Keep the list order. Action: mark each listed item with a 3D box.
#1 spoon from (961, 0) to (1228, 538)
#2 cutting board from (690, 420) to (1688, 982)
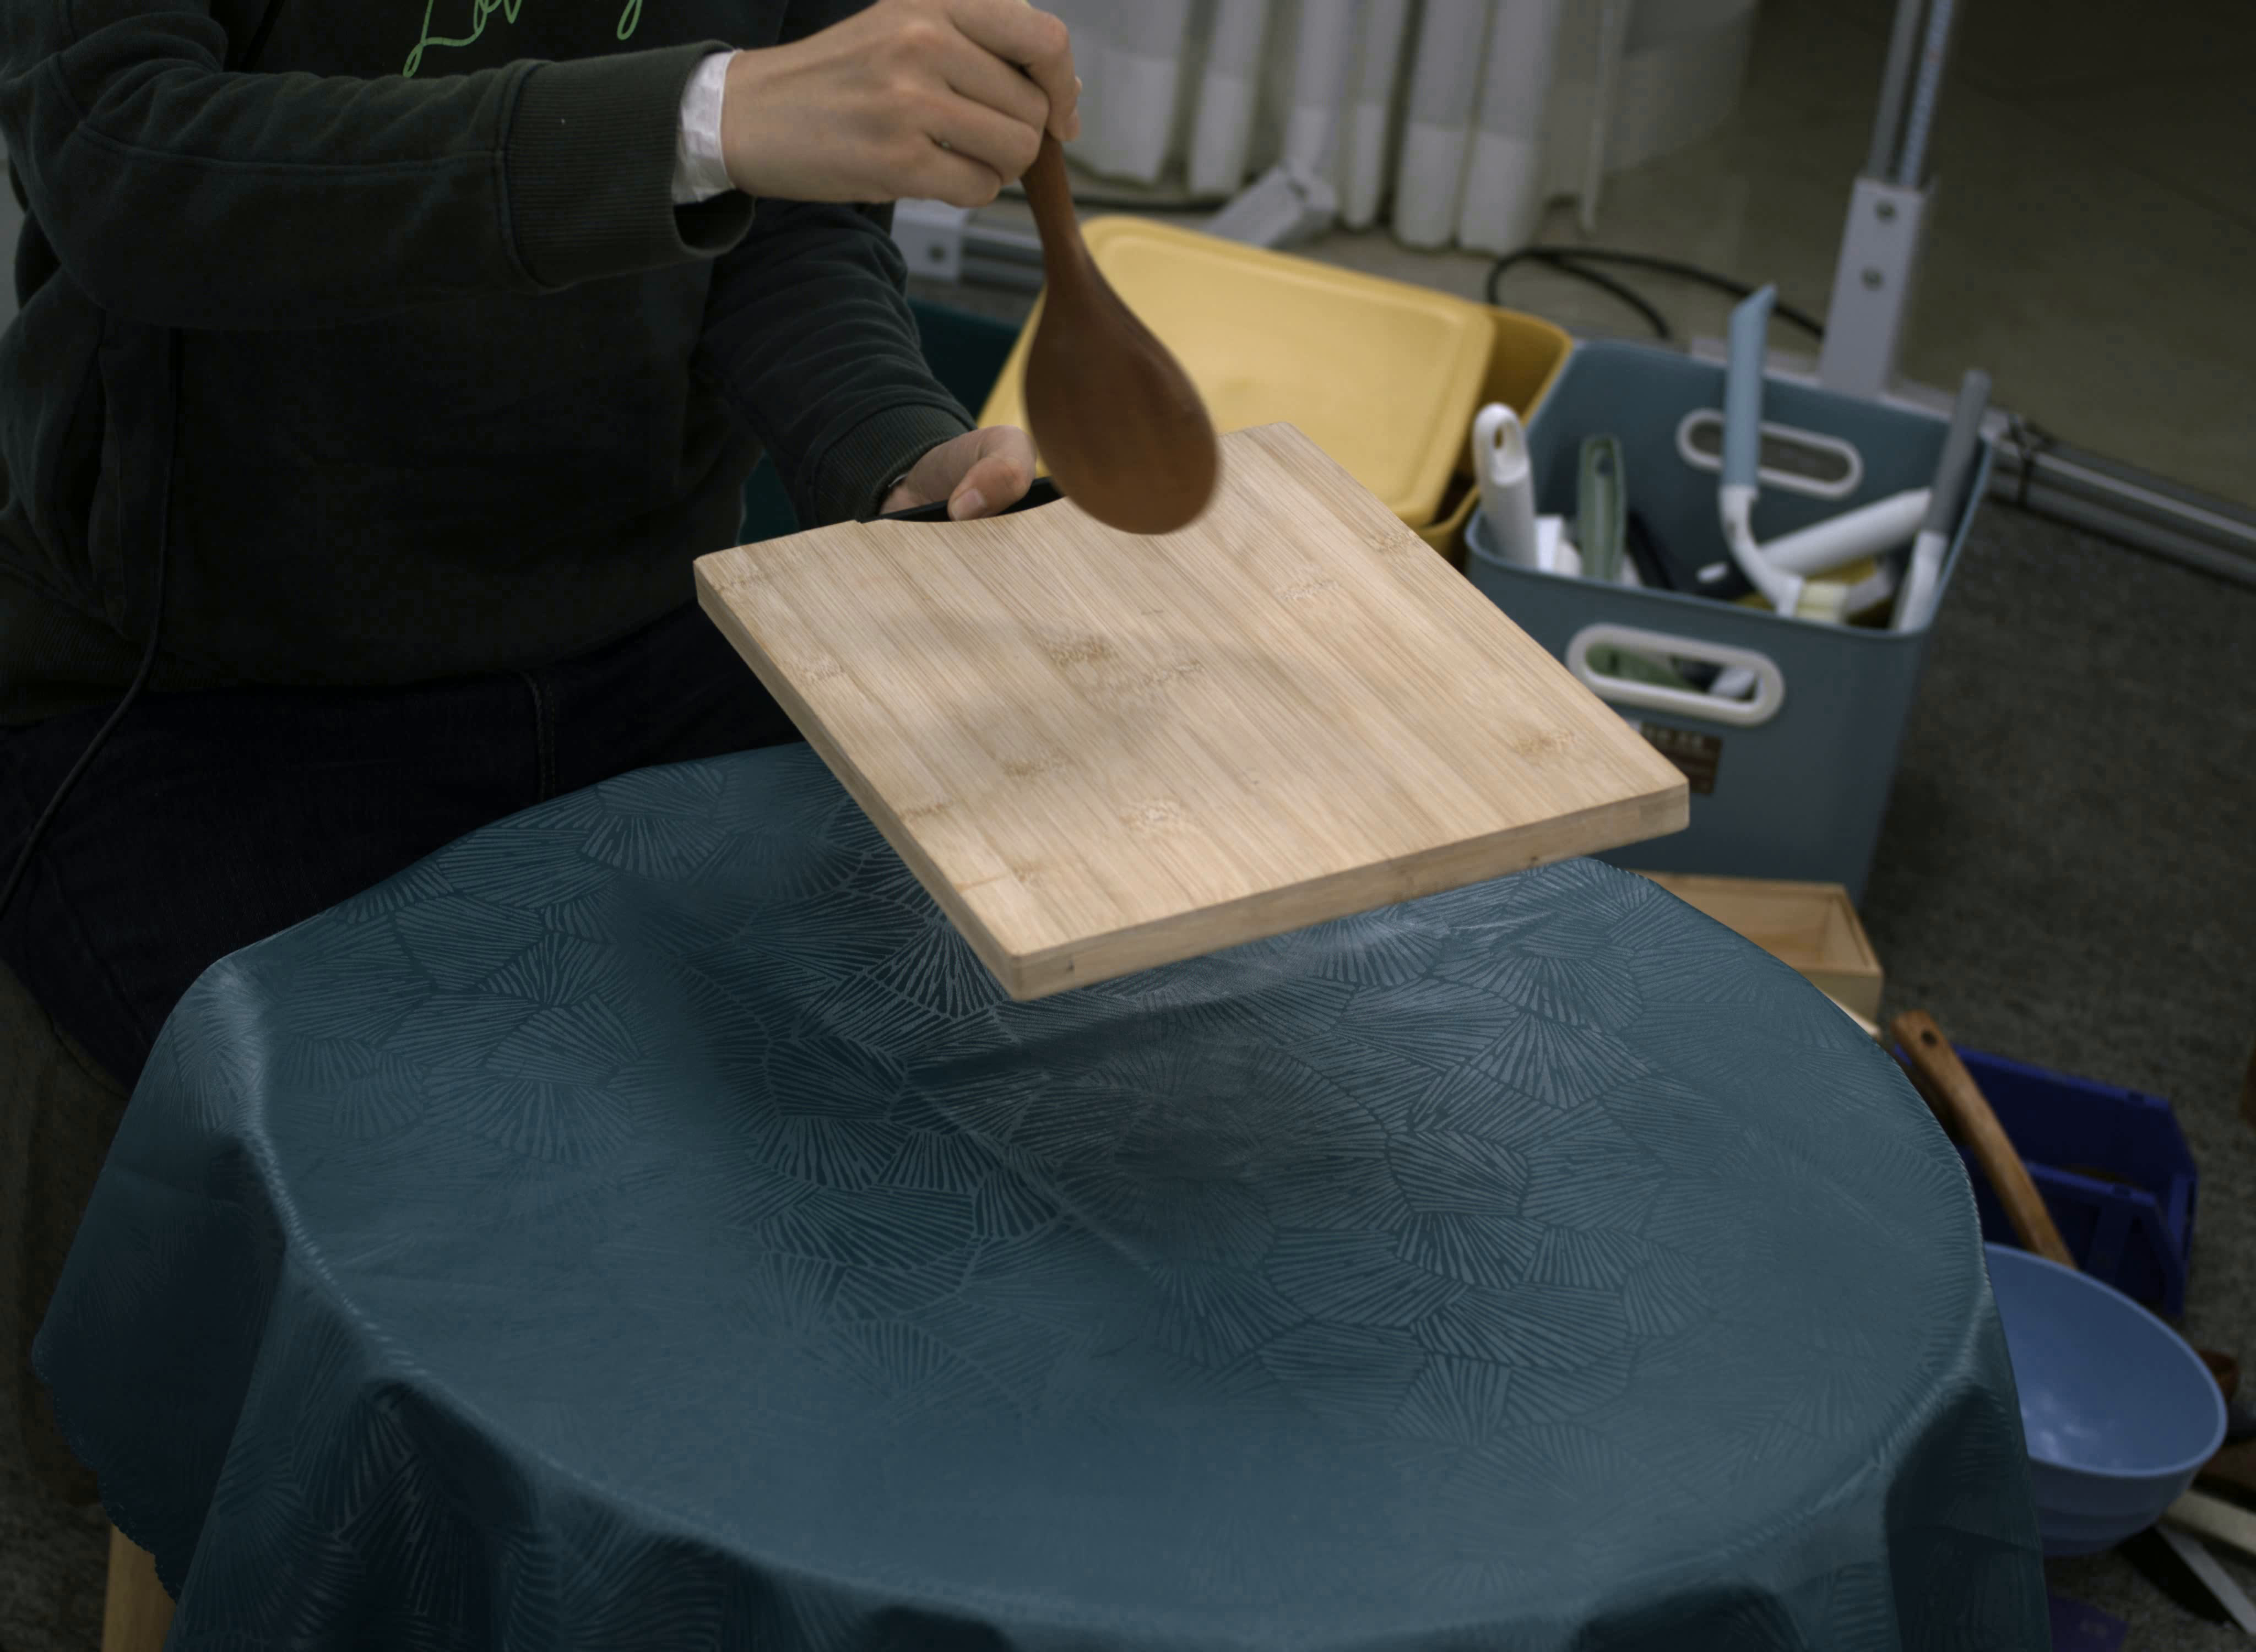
[{"bbox_3d":[-0.018,-0.186,1.789,0.076,0.214,0.017,6,37,35],"label":"spoon"},{"bbox_3d":[0.011,-0.051,1.856,0.249,0.023,0.351,-14,28,-18],"label":"cutting board"}]
